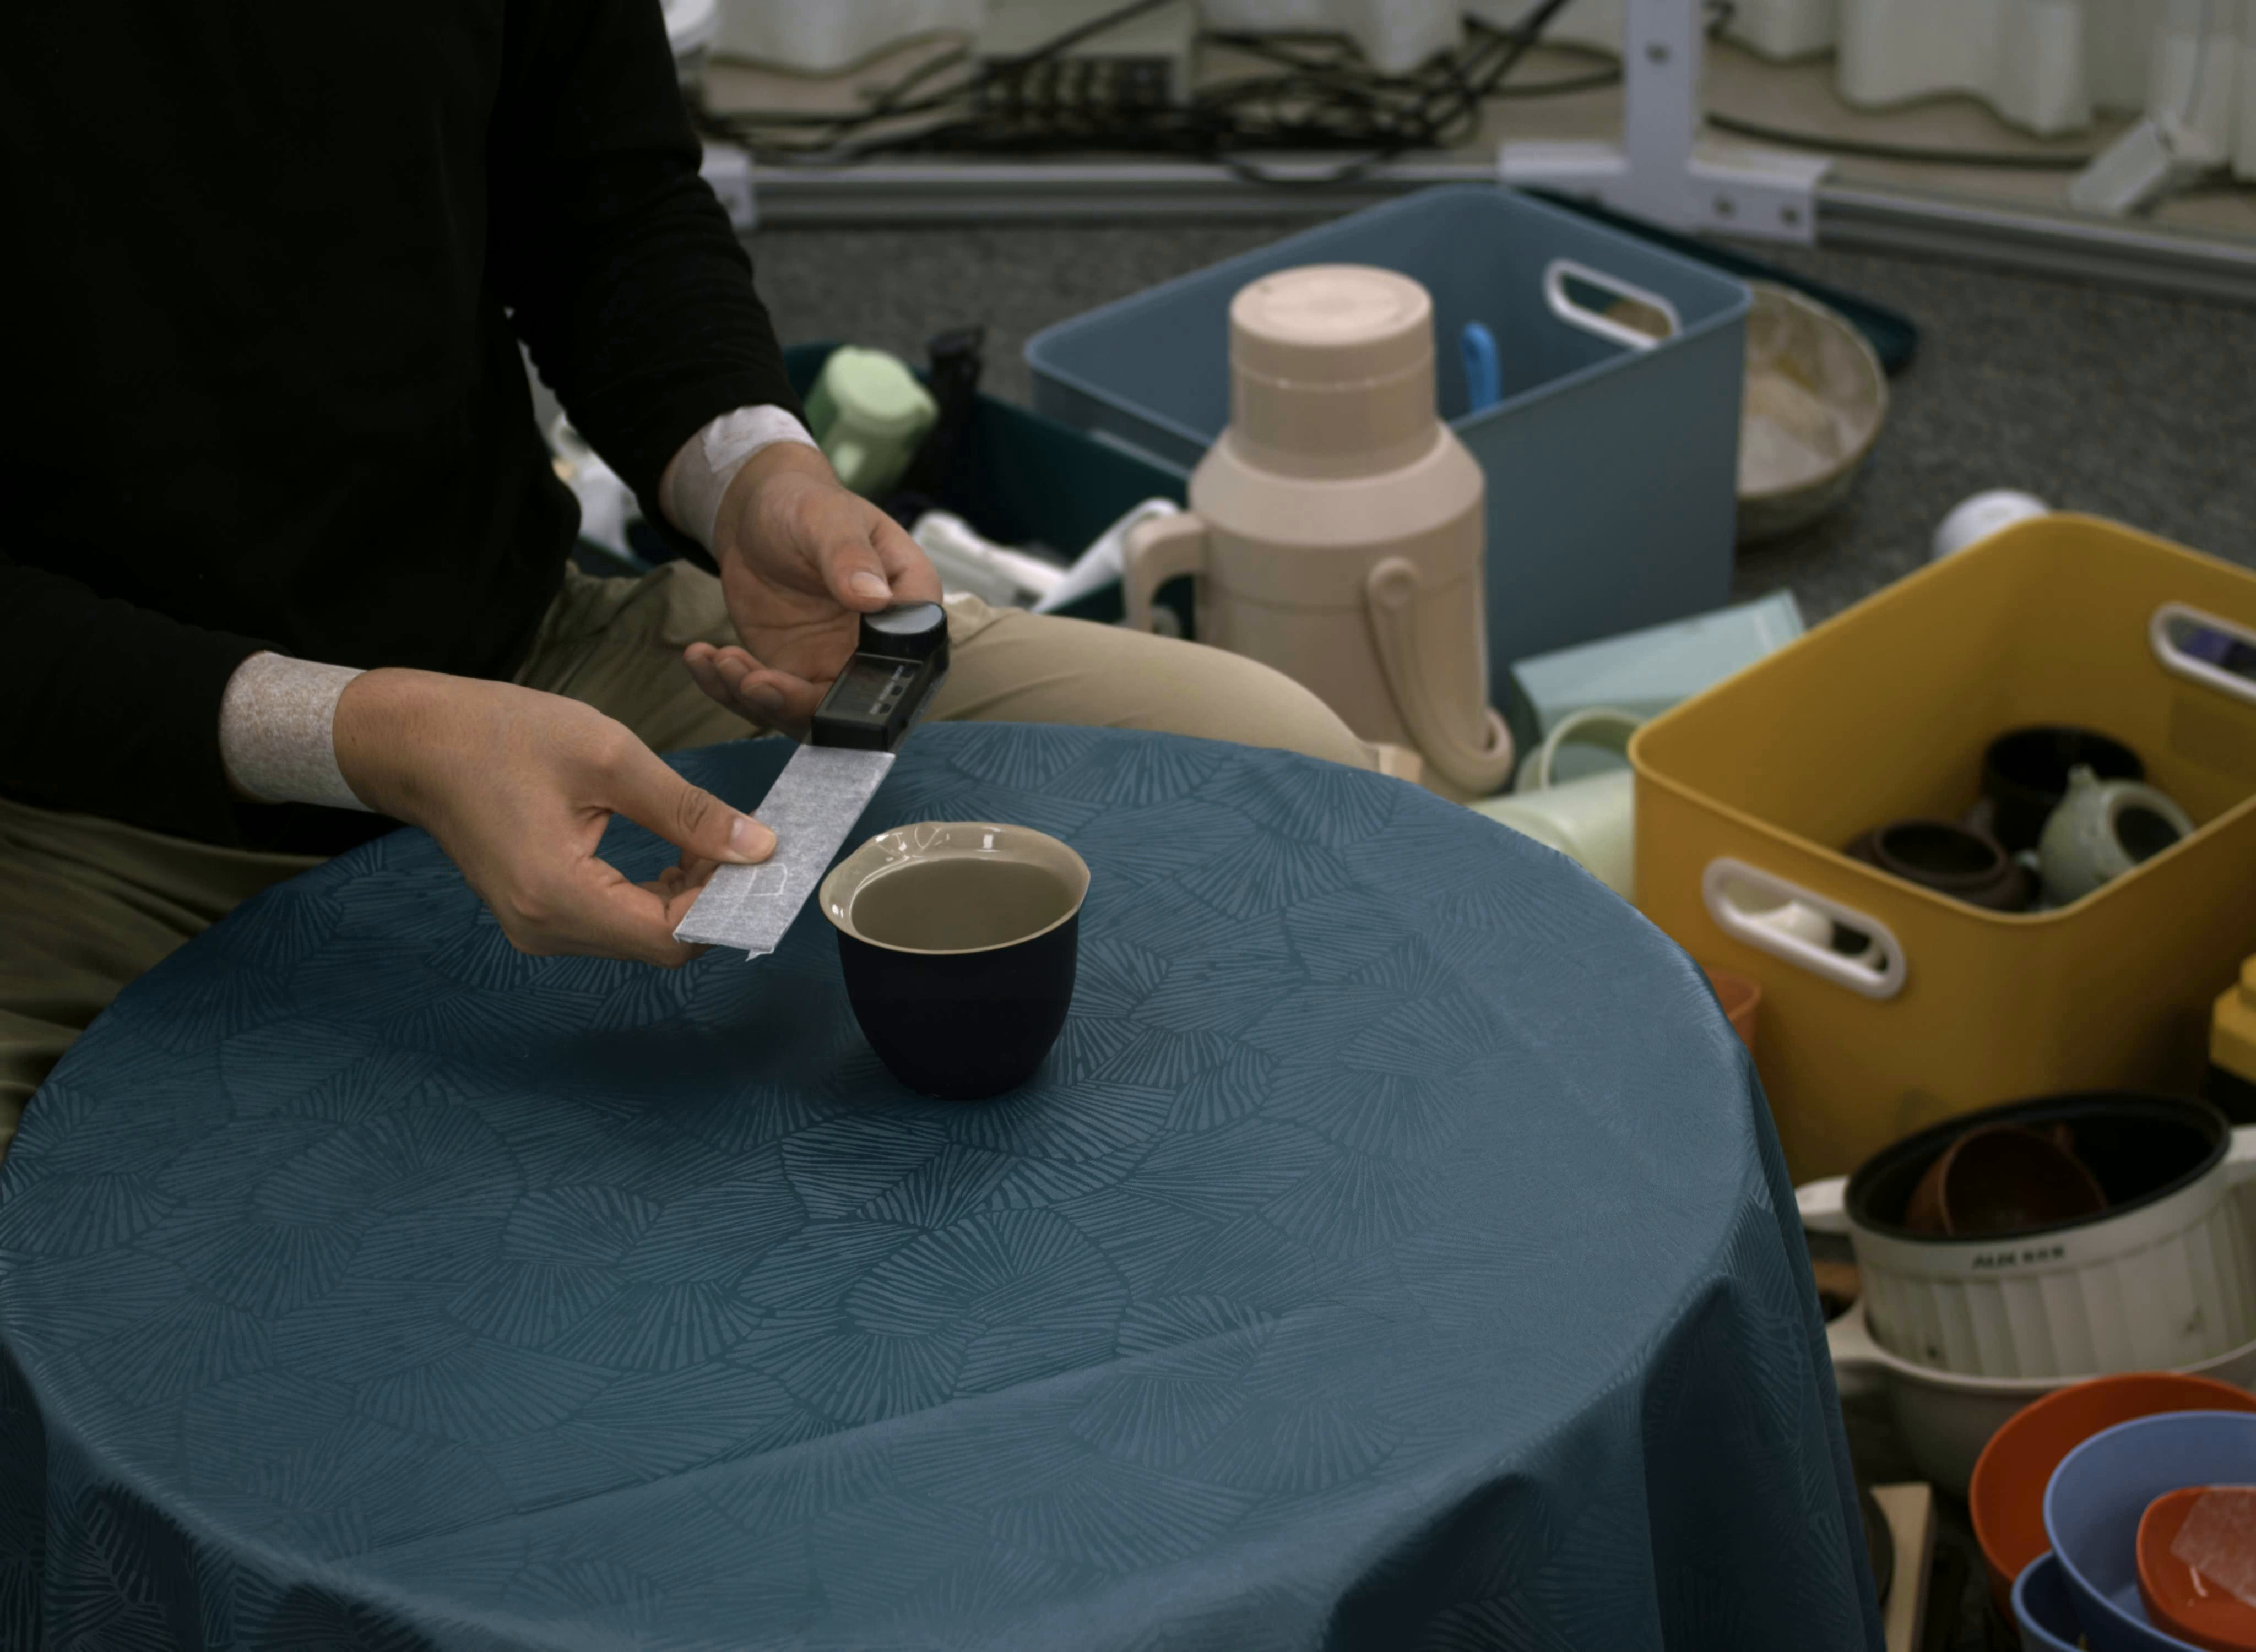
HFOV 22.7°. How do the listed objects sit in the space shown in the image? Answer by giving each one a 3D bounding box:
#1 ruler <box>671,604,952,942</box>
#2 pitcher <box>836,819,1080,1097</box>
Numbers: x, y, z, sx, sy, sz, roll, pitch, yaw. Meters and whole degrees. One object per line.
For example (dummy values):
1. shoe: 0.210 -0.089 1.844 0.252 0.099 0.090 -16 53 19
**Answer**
1. ruler: -0.107 -0.021 1.962 0.038 0.024 0.222 2 28 17
2. pitcher: -0.059 0.048 1.930 0.084 0.070 0.096 -14 30 -20
